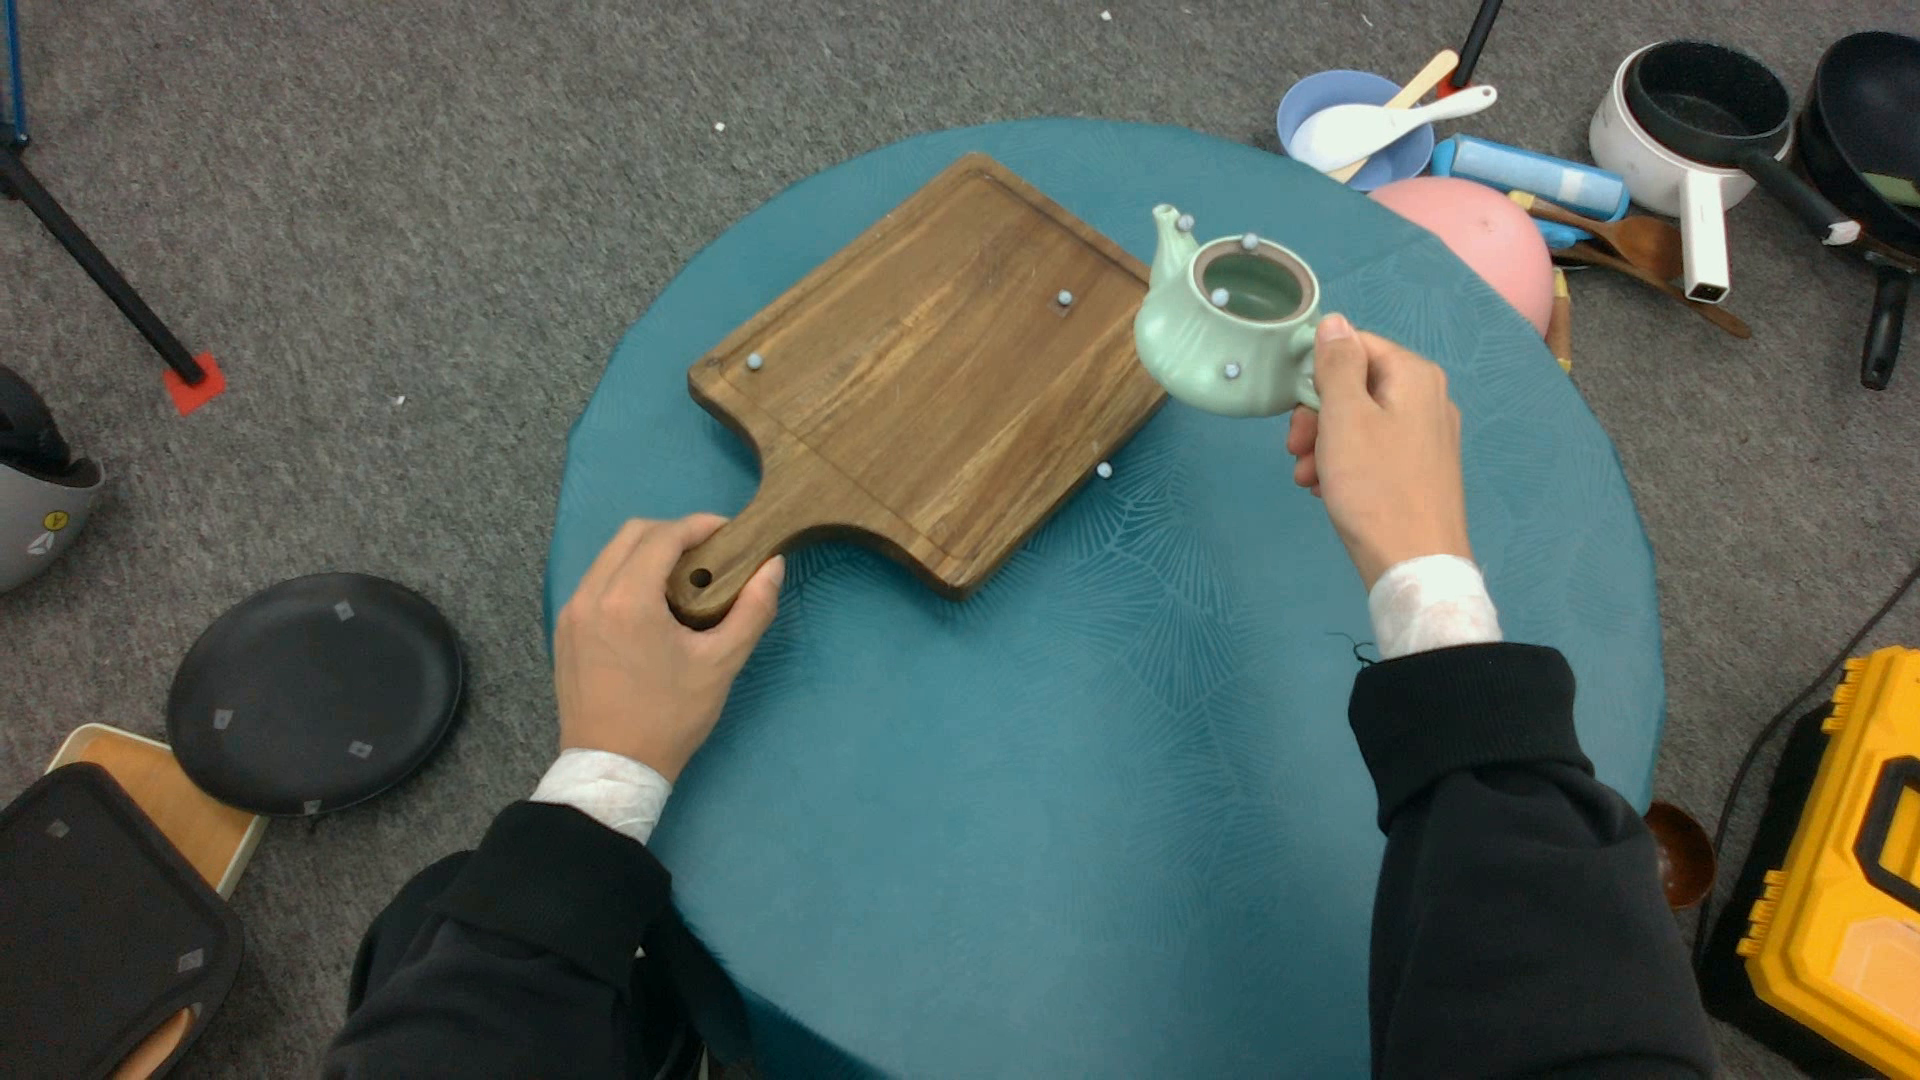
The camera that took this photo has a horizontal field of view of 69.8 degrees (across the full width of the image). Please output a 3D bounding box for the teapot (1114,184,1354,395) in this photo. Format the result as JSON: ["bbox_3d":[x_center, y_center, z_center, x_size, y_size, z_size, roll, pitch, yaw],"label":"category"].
[{"bbox_3d":[0.127,-0.114,0.659,0.096,0.061,0.137,-34,62,-29],"label":"teapot"}]

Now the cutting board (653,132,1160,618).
[{"bbox_3d":[-0.034,-0.083,0.743,0.201,0.023,0.354,37,60,13],"label":"cutting board"}]
